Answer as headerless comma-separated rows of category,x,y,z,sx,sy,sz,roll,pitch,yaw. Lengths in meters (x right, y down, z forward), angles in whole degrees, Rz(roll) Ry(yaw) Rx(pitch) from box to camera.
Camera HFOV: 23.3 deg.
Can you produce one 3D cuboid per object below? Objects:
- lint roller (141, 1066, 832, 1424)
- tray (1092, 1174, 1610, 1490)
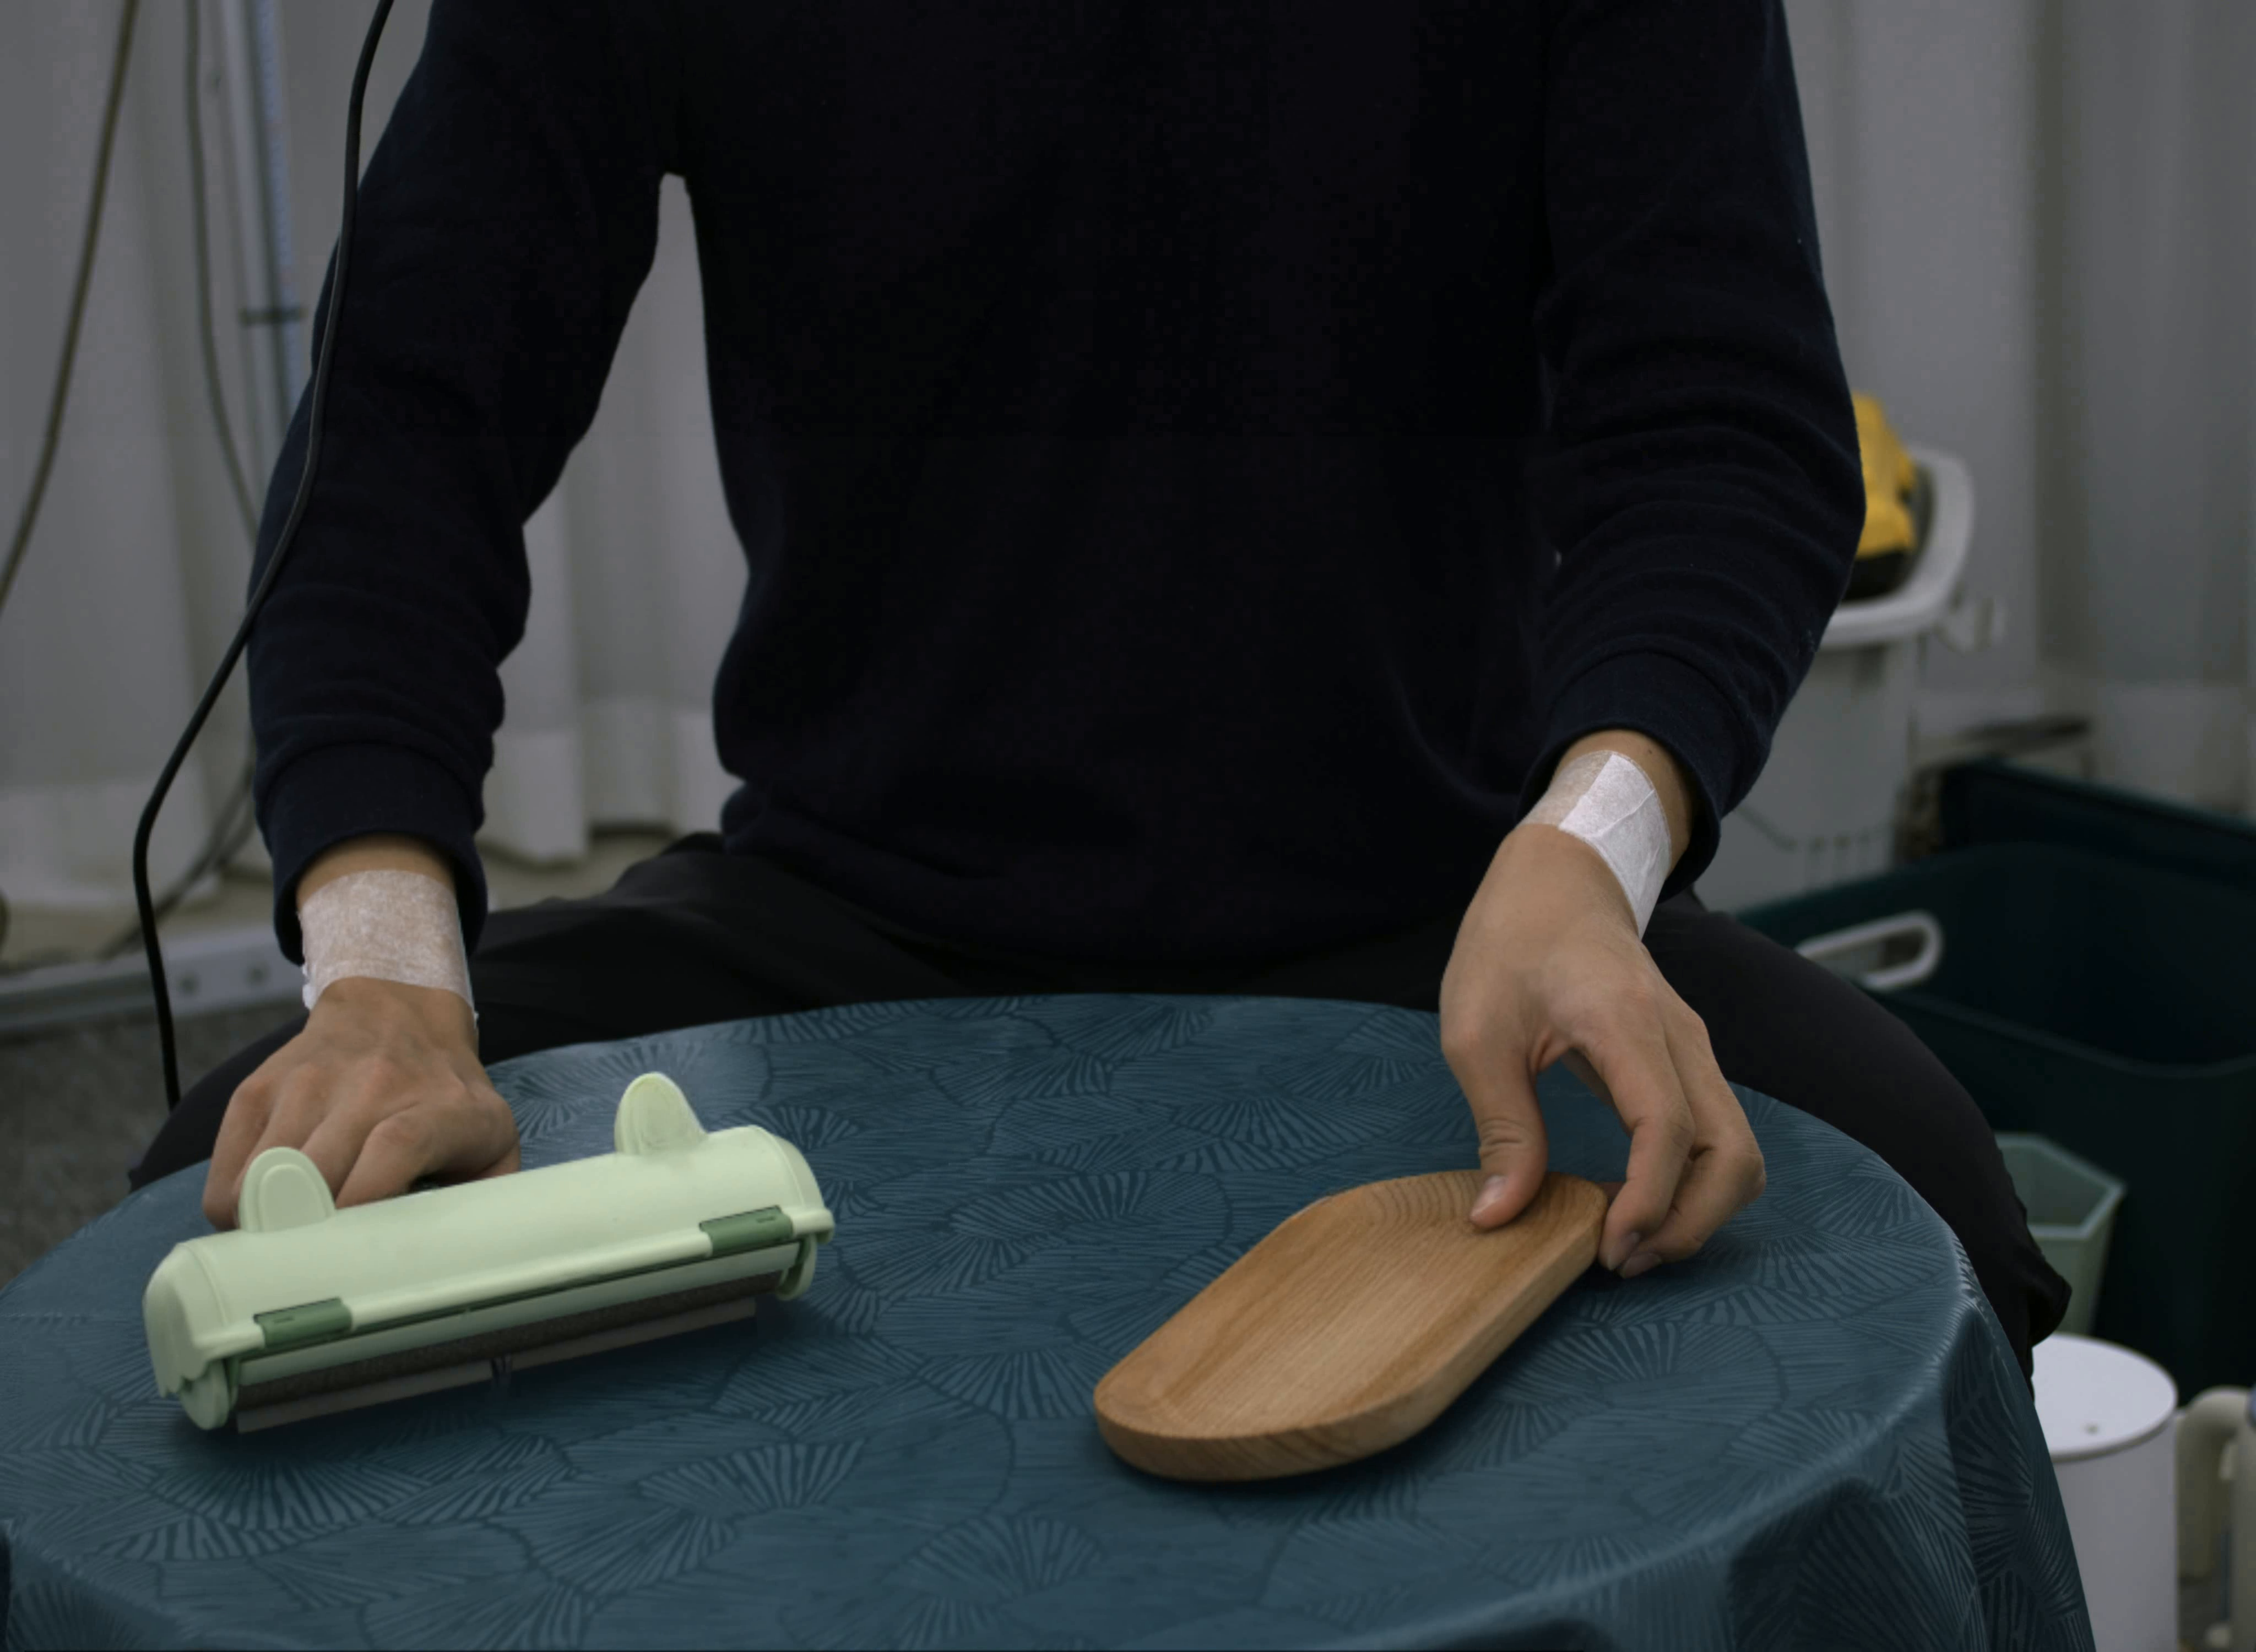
lint roller,-0.211,0.105,1.626,0.198,0.082,0.185,-10,22,-26
tray,0.067,0.142,1.558,0.101,0.020,0.232,-3,15,25
